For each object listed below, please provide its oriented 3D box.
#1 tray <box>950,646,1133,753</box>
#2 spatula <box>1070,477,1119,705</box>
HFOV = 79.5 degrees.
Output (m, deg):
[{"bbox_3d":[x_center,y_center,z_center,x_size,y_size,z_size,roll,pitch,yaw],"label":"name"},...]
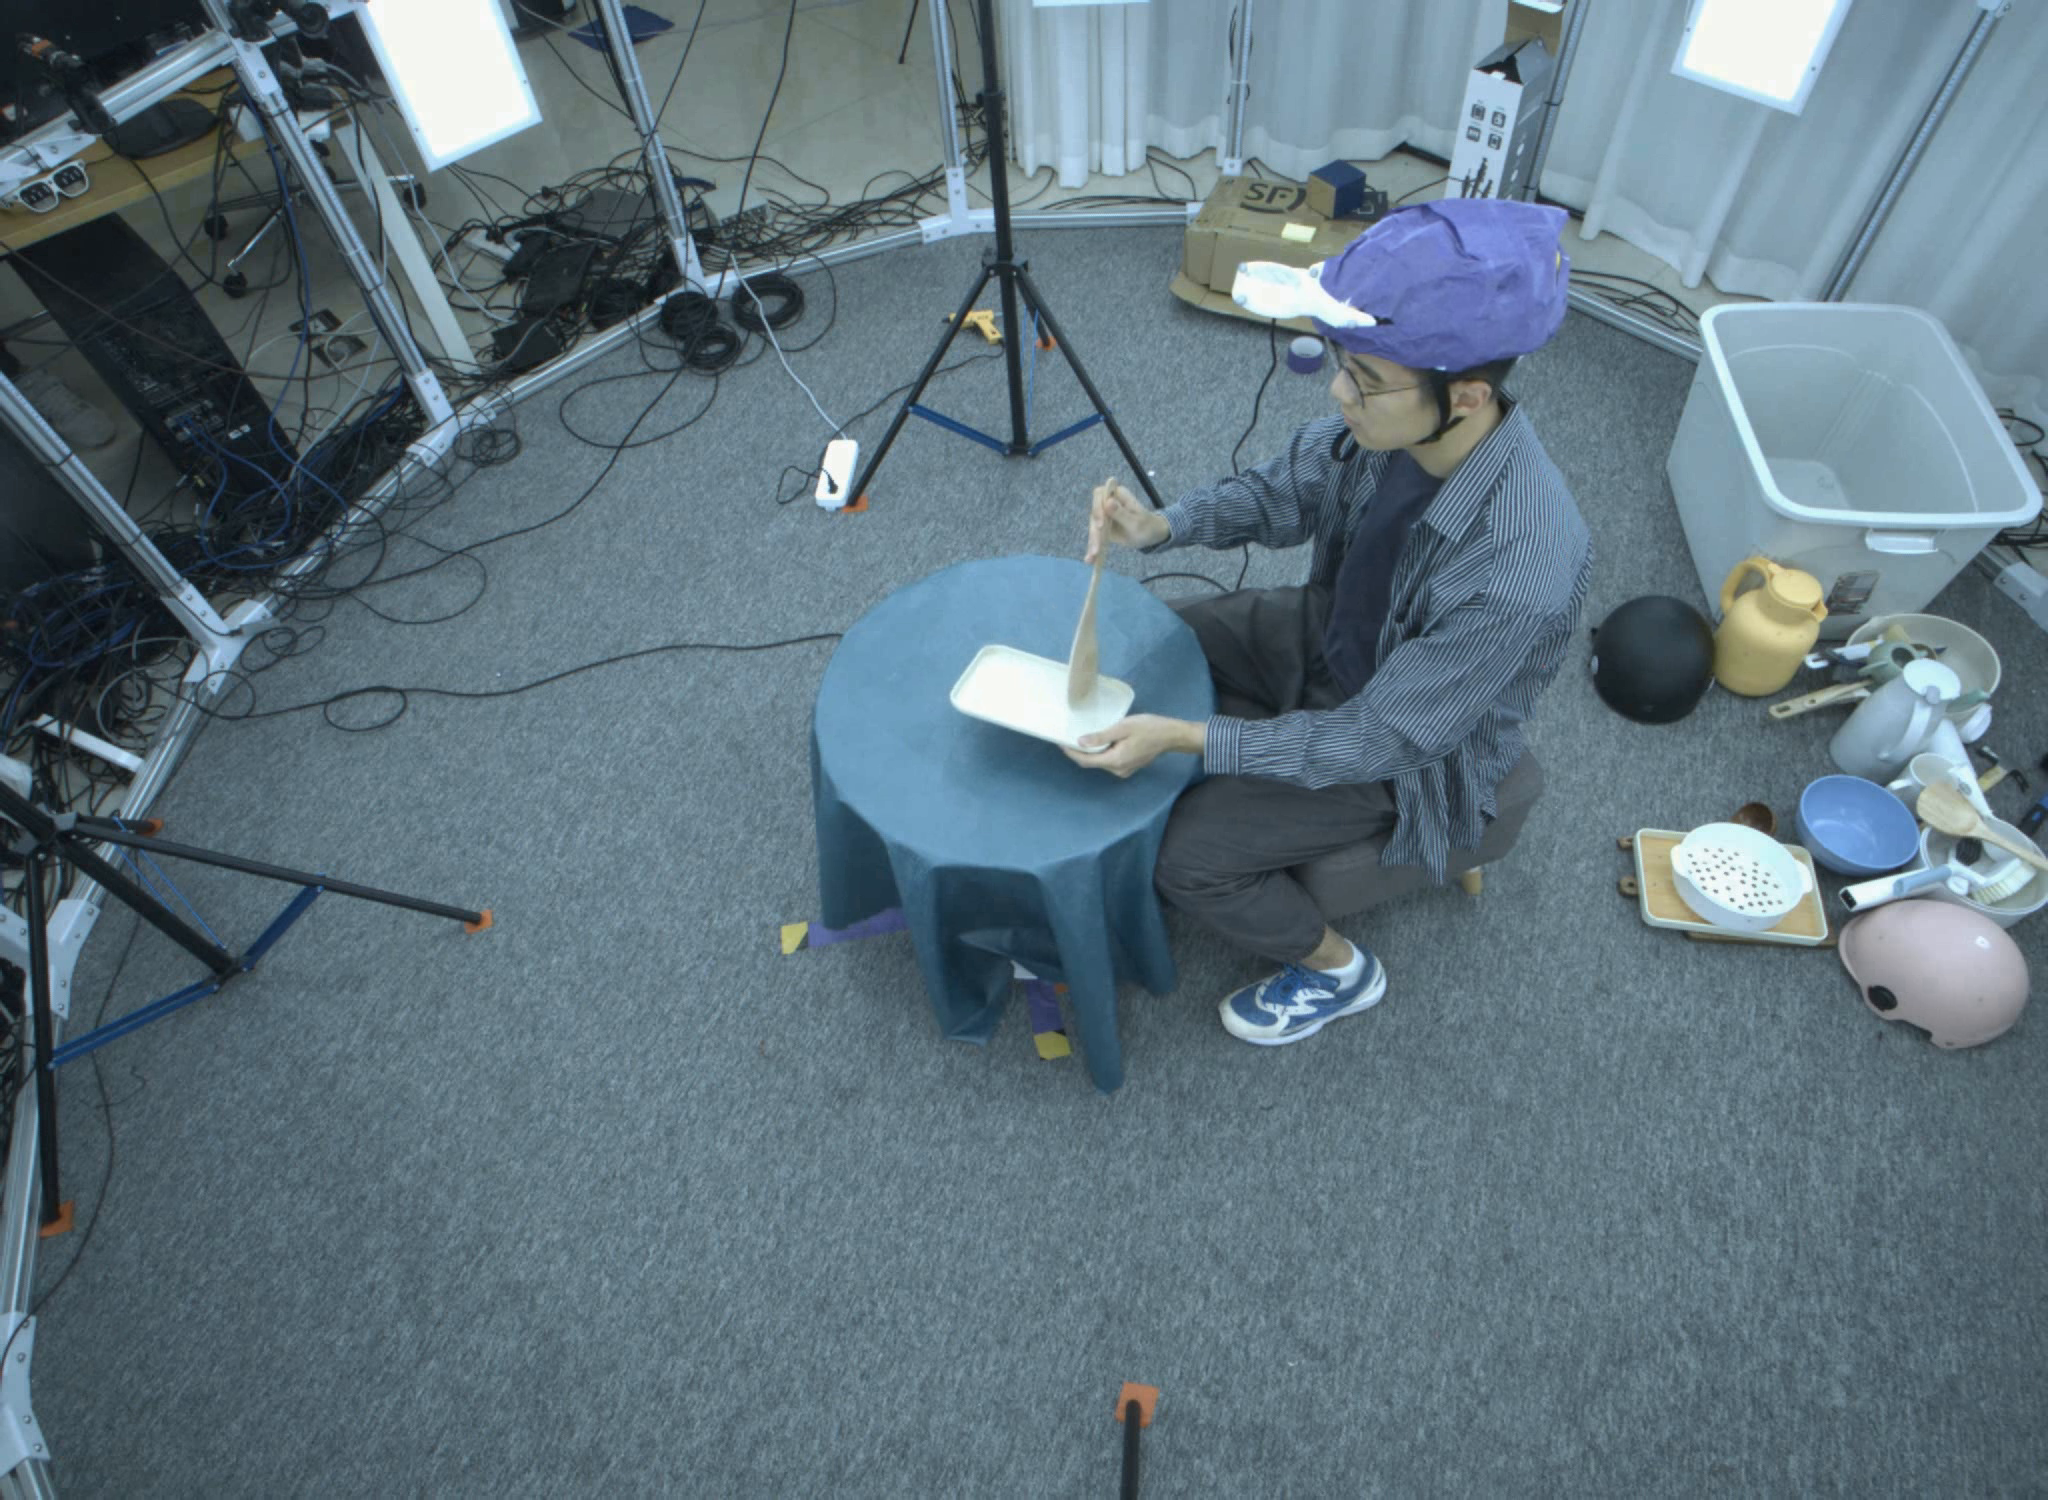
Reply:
[{"bbox_3d":[0.026,-0.073,1.756,0.238,0.017,0.171,18,40,9],"label":"tray"},{"bbox_3d":[0.103,-0.220,1.708,0.016,0.329,0.081,23,31,26],"label":"spatula"}]
